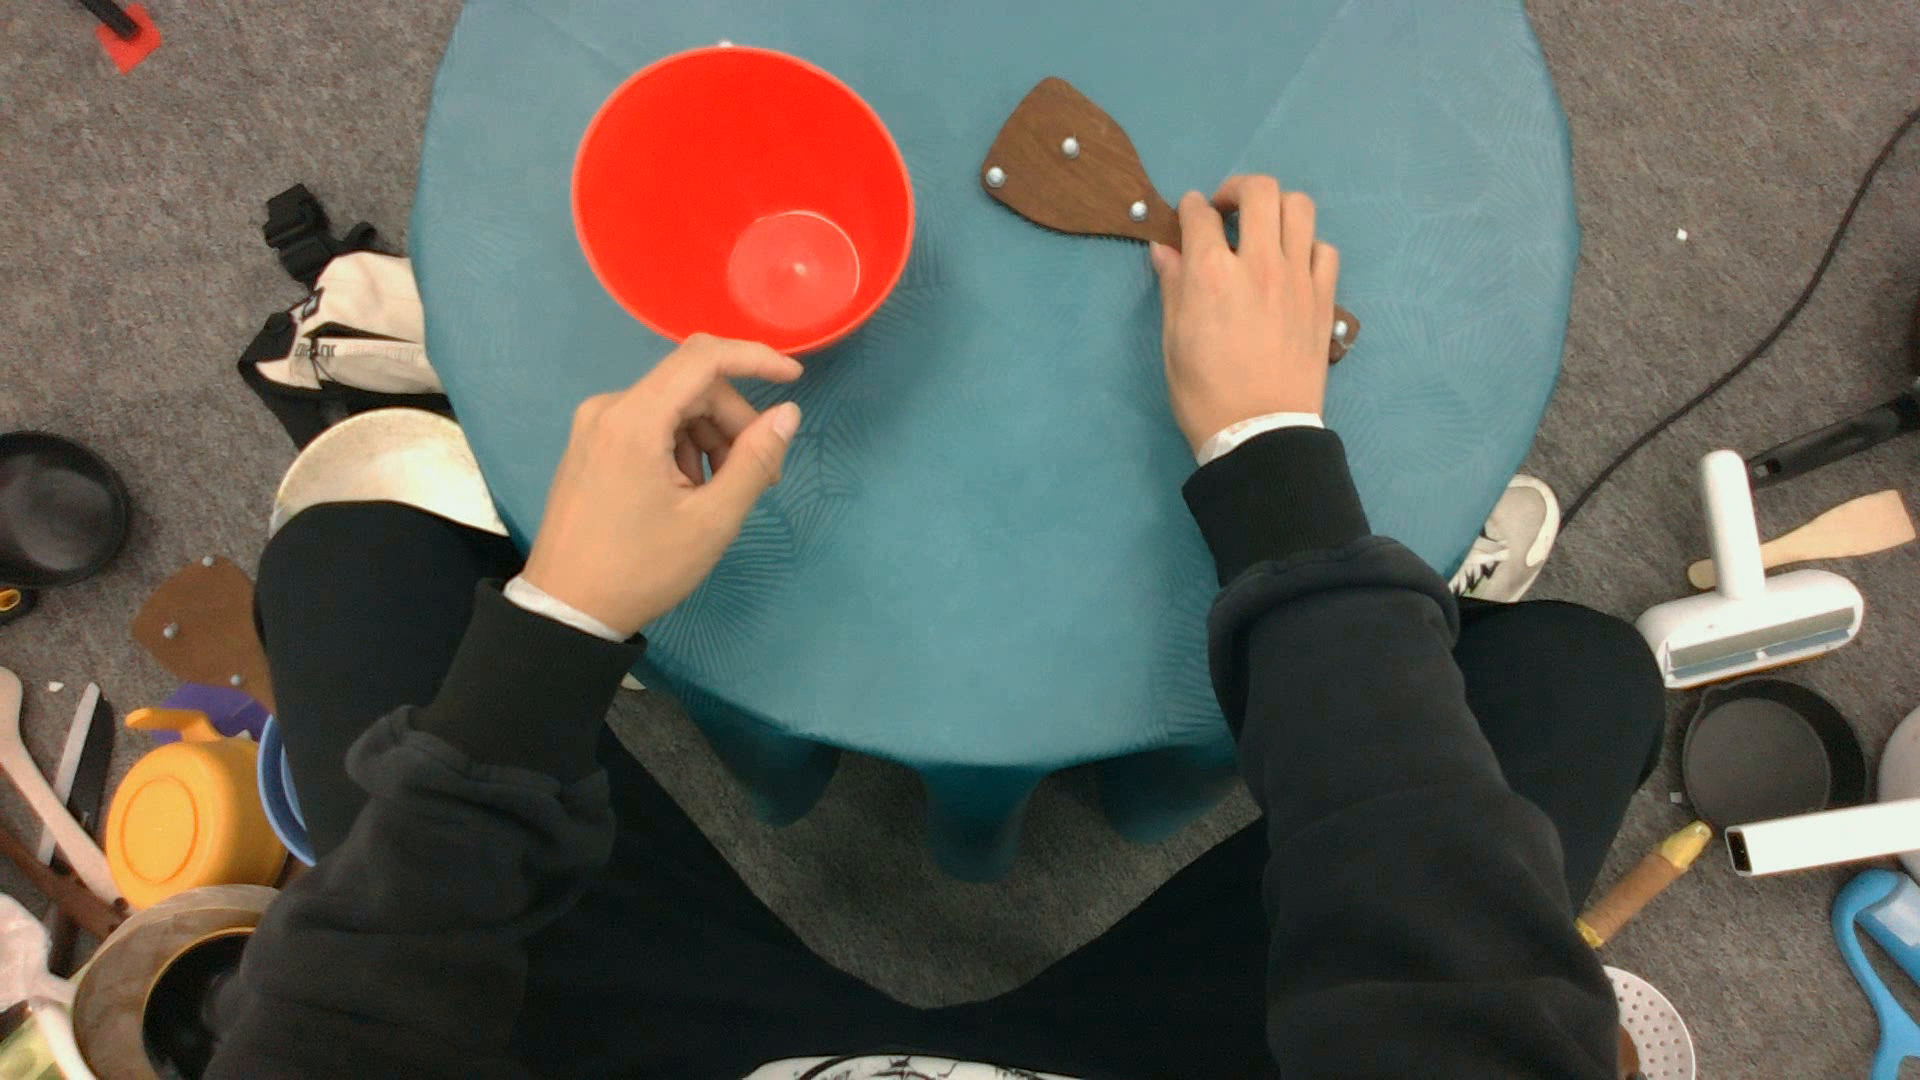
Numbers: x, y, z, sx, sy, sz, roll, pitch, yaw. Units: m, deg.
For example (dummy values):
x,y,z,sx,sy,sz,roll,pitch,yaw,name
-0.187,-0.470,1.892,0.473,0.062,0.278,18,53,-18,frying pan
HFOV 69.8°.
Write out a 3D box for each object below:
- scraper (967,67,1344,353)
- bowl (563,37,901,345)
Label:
x,y,z,sx,sy,sz,roll,pitch,yaw,name
0.104,-0.162,0.708,0.211,0.011,0.076,34,82,5,scraper
-0.101,-0.151,0.656,0.148,0.104,0.148,0,79,-1,bowl
